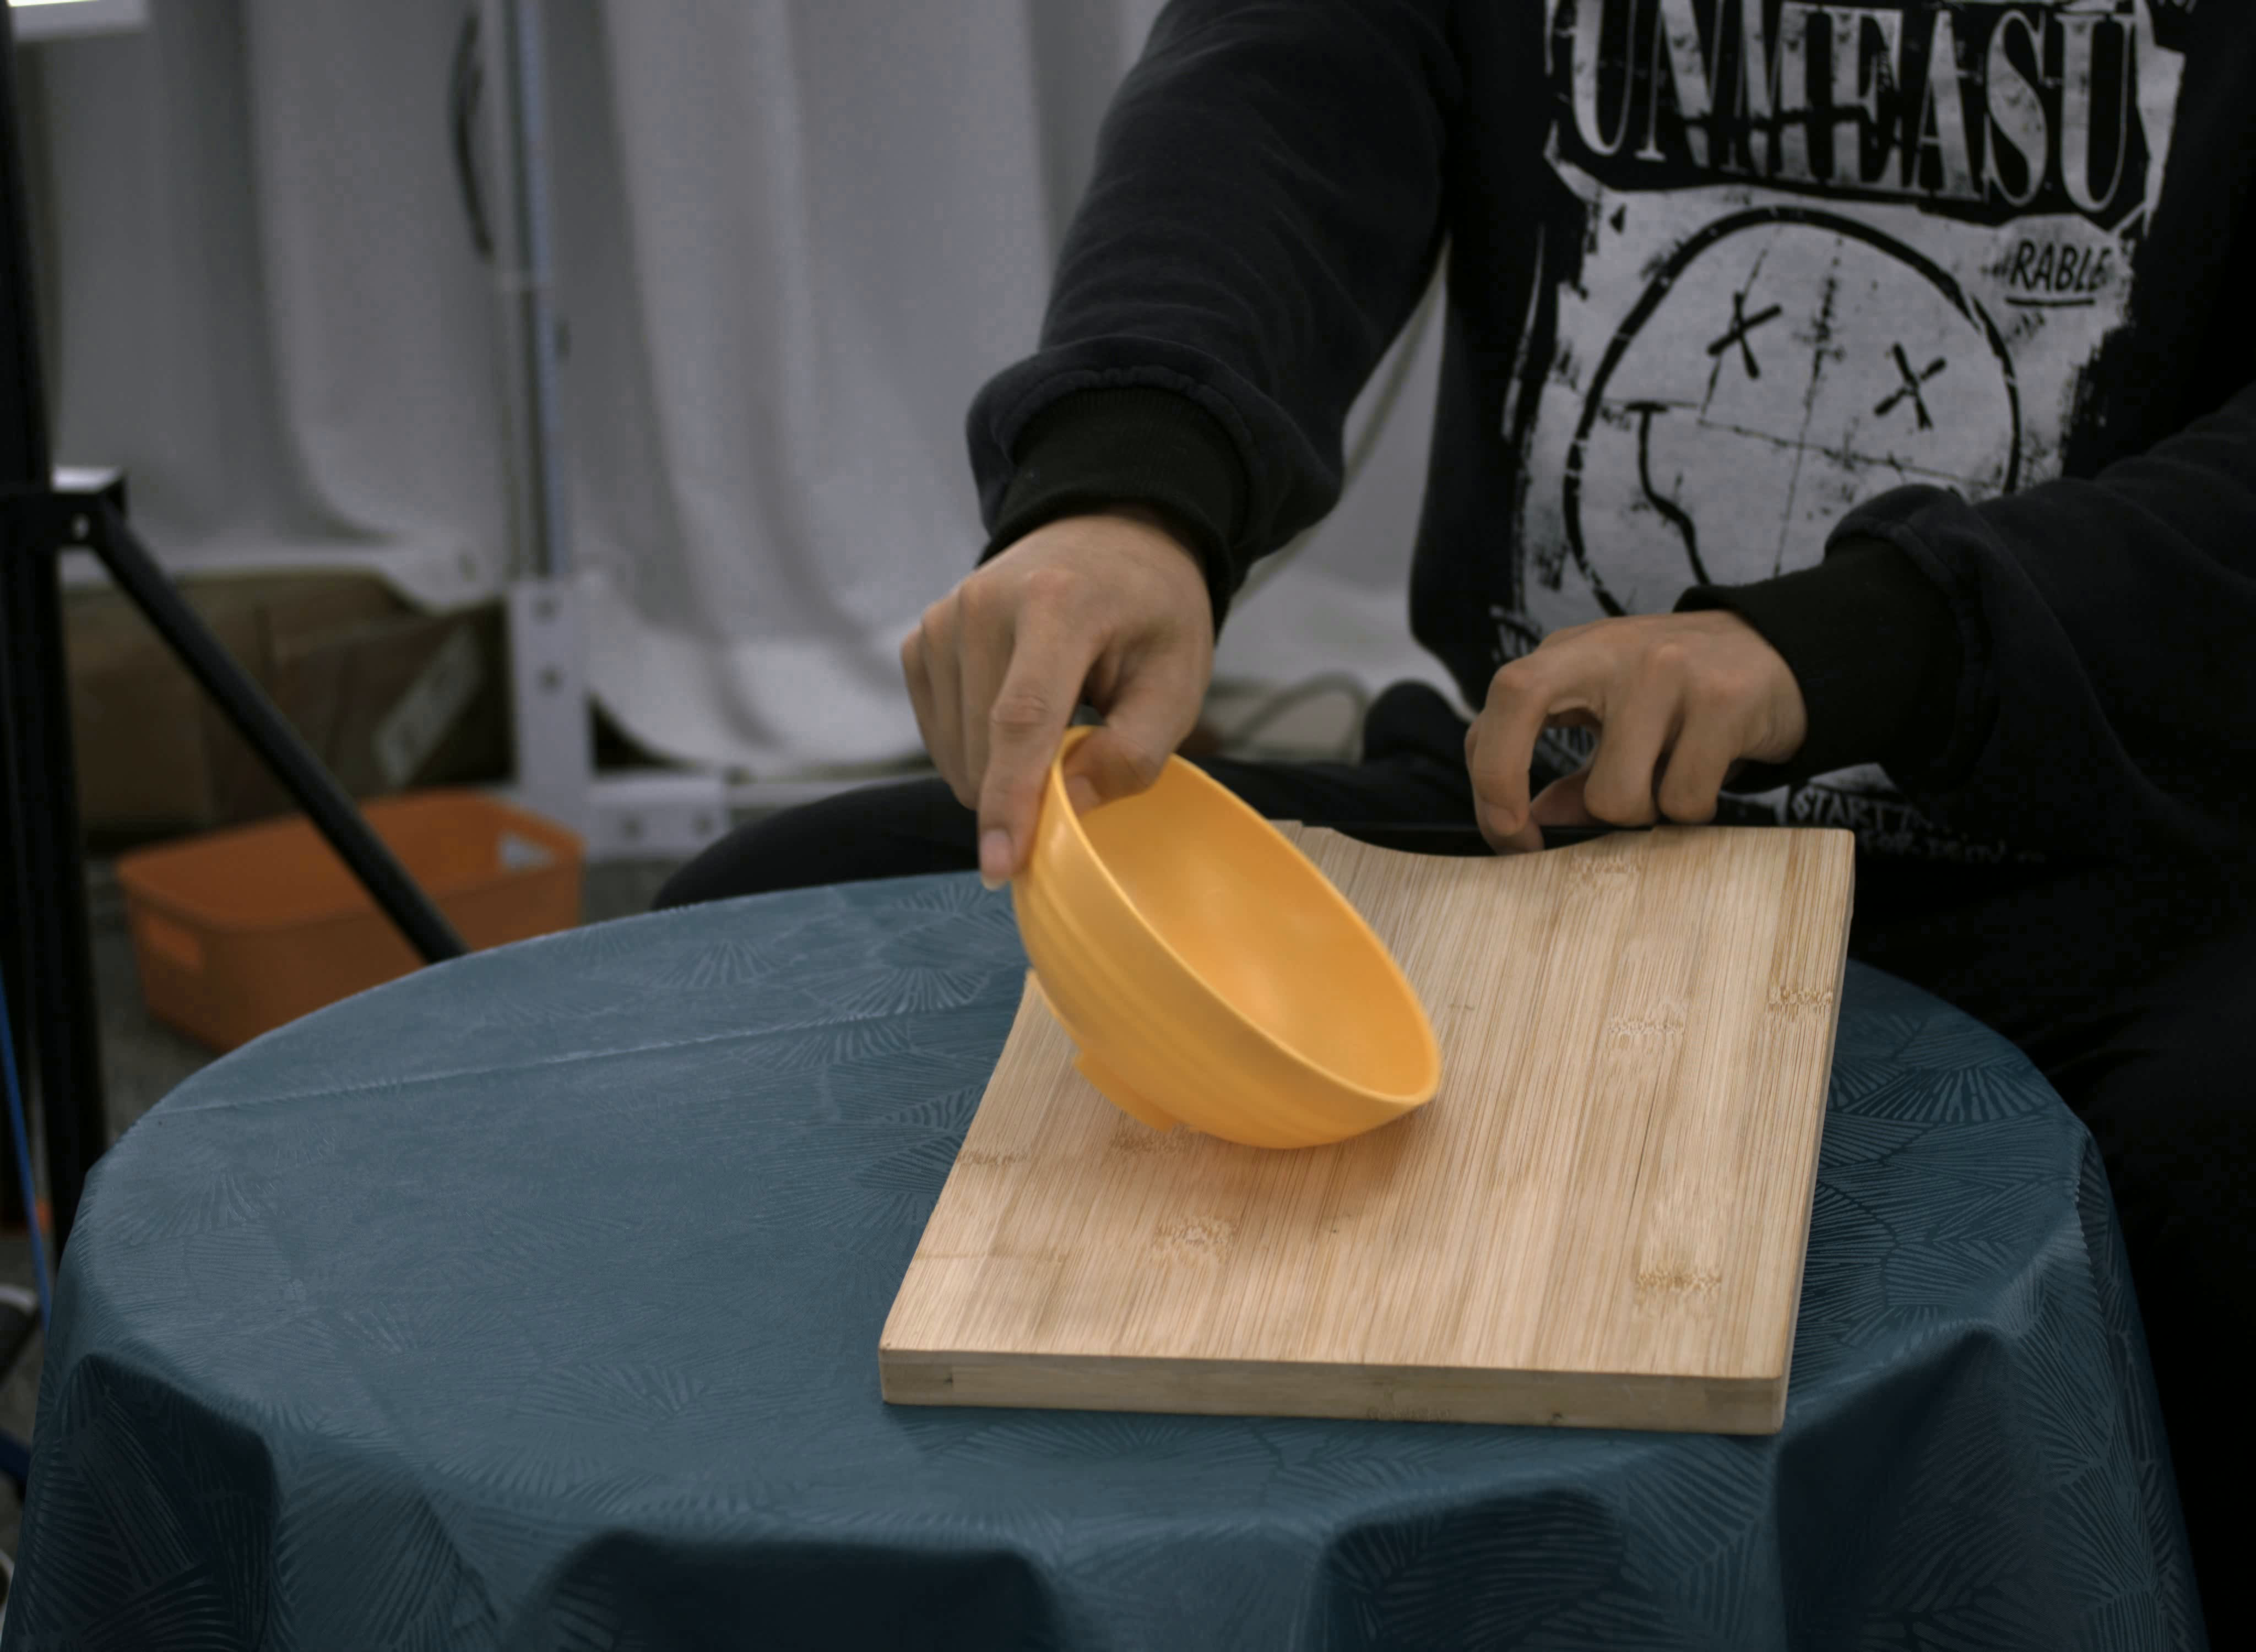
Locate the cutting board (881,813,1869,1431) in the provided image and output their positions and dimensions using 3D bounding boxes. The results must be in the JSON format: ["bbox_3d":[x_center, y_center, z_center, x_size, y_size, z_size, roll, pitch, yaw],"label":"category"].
[{"bbox_3d":[0.083,0.076,1.533,0.252,0.023,0.348,0,25,11],"label":"cutting board"}]

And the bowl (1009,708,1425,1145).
[{"bbox_3d":[0.013,0.040,1.484,0.060,0.145,0.144,-44,4,19],"label":"bowl"}]
